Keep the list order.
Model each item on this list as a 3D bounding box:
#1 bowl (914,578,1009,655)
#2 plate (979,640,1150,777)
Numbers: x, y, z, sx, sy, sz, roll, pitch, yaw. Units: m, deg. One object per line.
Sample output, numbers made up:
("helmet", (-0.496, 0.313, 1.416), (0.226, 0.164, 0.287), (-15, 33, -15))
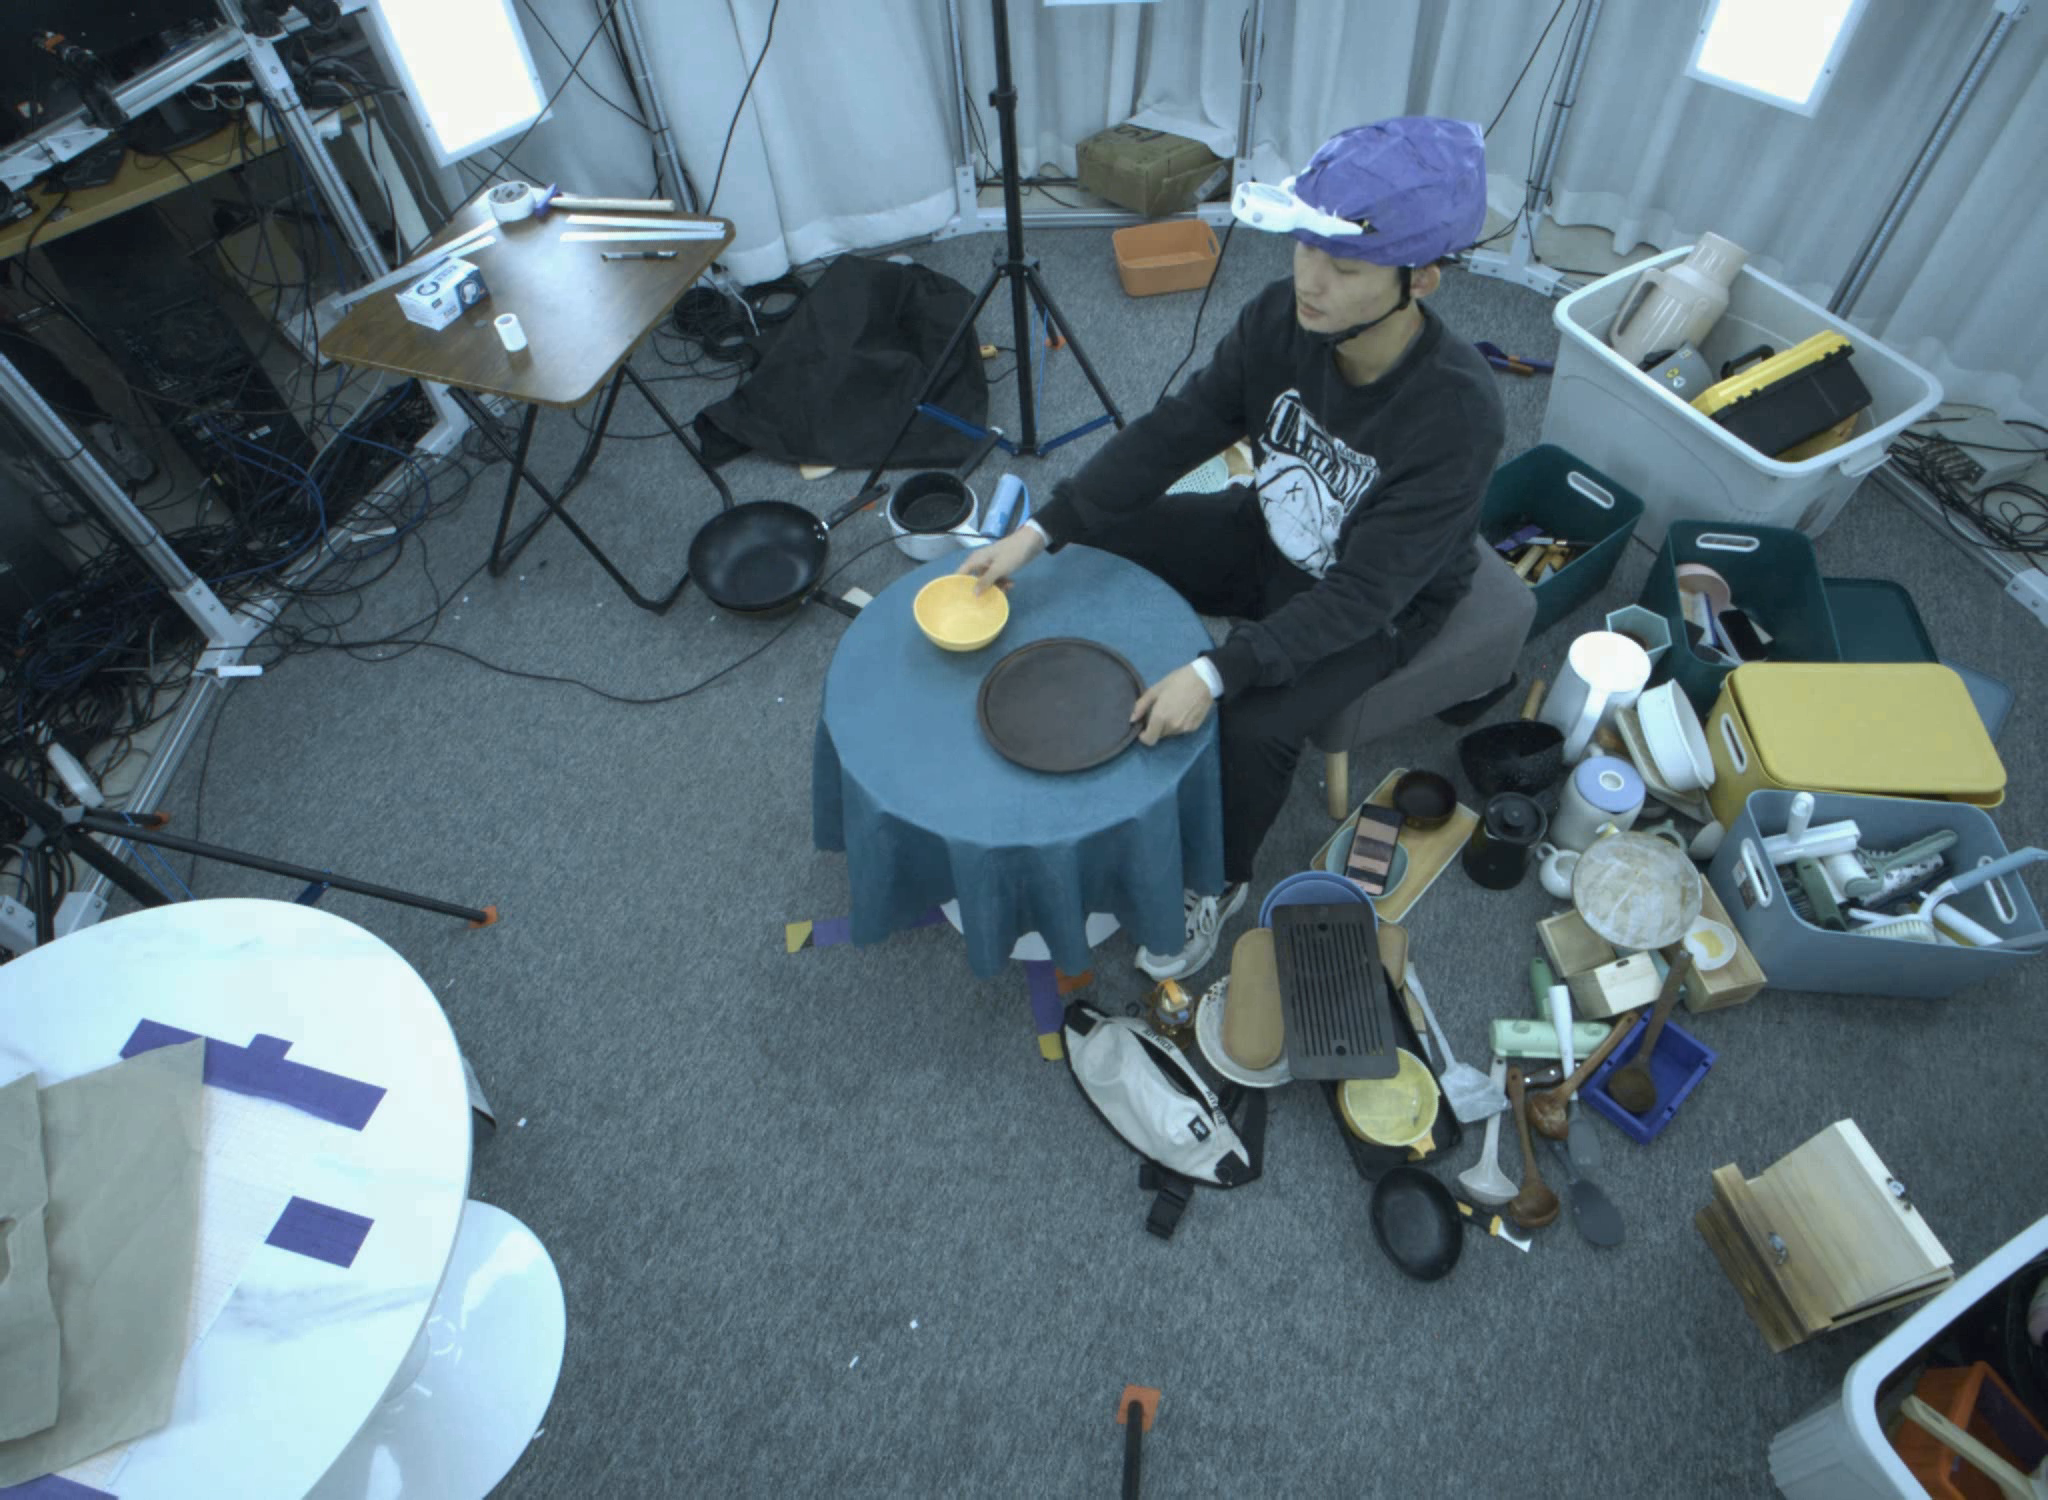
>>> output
("bowl", (-0.097, -0.195, 1.900), (0.146, 0.060, 0.144), (4, 54, -4))
("plate", (0.059, -0.062, 1.826), (0.254, 0.029, 0.252), (0, 53, 2))
